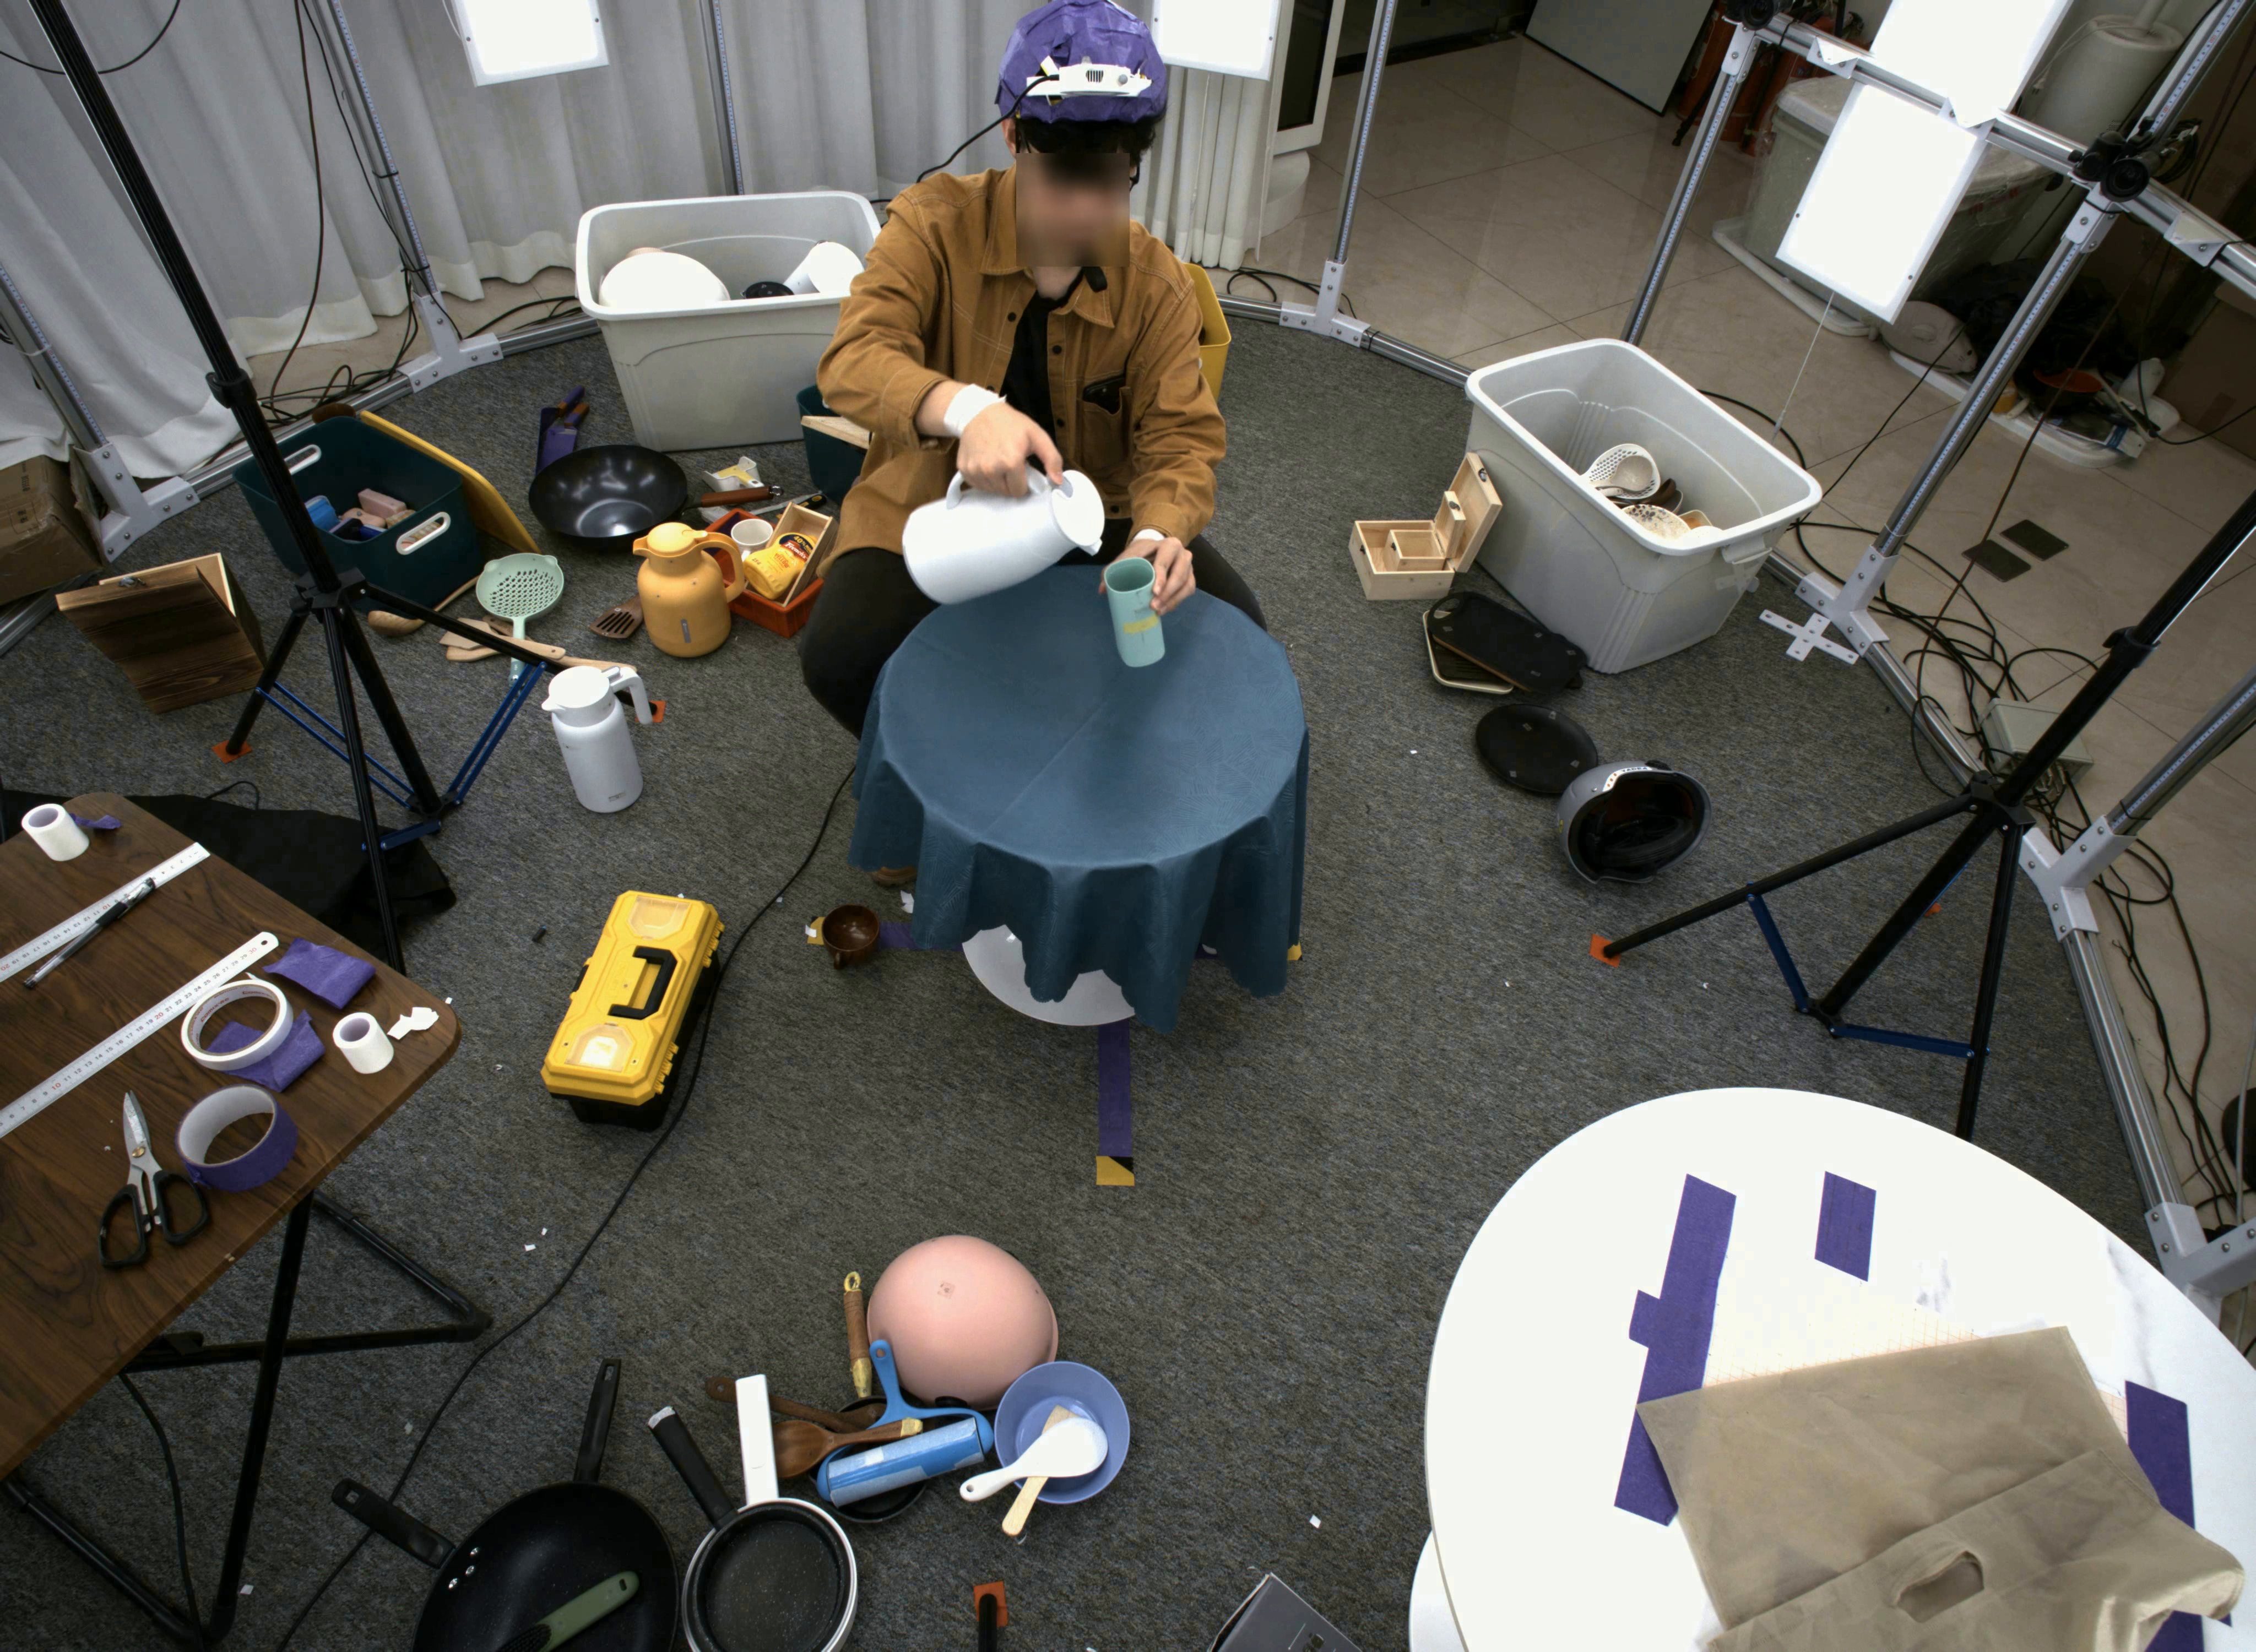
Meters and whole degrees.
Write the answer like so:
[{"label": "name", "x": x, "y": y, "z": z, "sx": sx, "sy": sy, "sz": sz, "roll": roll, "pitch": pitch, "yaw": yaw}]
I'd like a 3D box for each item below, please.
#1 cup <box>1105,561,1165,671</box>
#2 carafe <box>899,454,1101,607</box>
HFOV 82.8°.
[{"label": "cup", "x": 0.010, "y": -0.267, "z": 1.635, "sx": 0.067, "sy": 0.129, "sz": 0.068, "roll": -5, "pitch": 51, "yaw": 6}, {"label": "carafe", "x": -0.161, "y": -0.370, "z": 1.569, "sx": 0.248, "sy": 0.164, "sz": 0.135, "roll": -9, "pitch": 48, "yaw": 41}]
